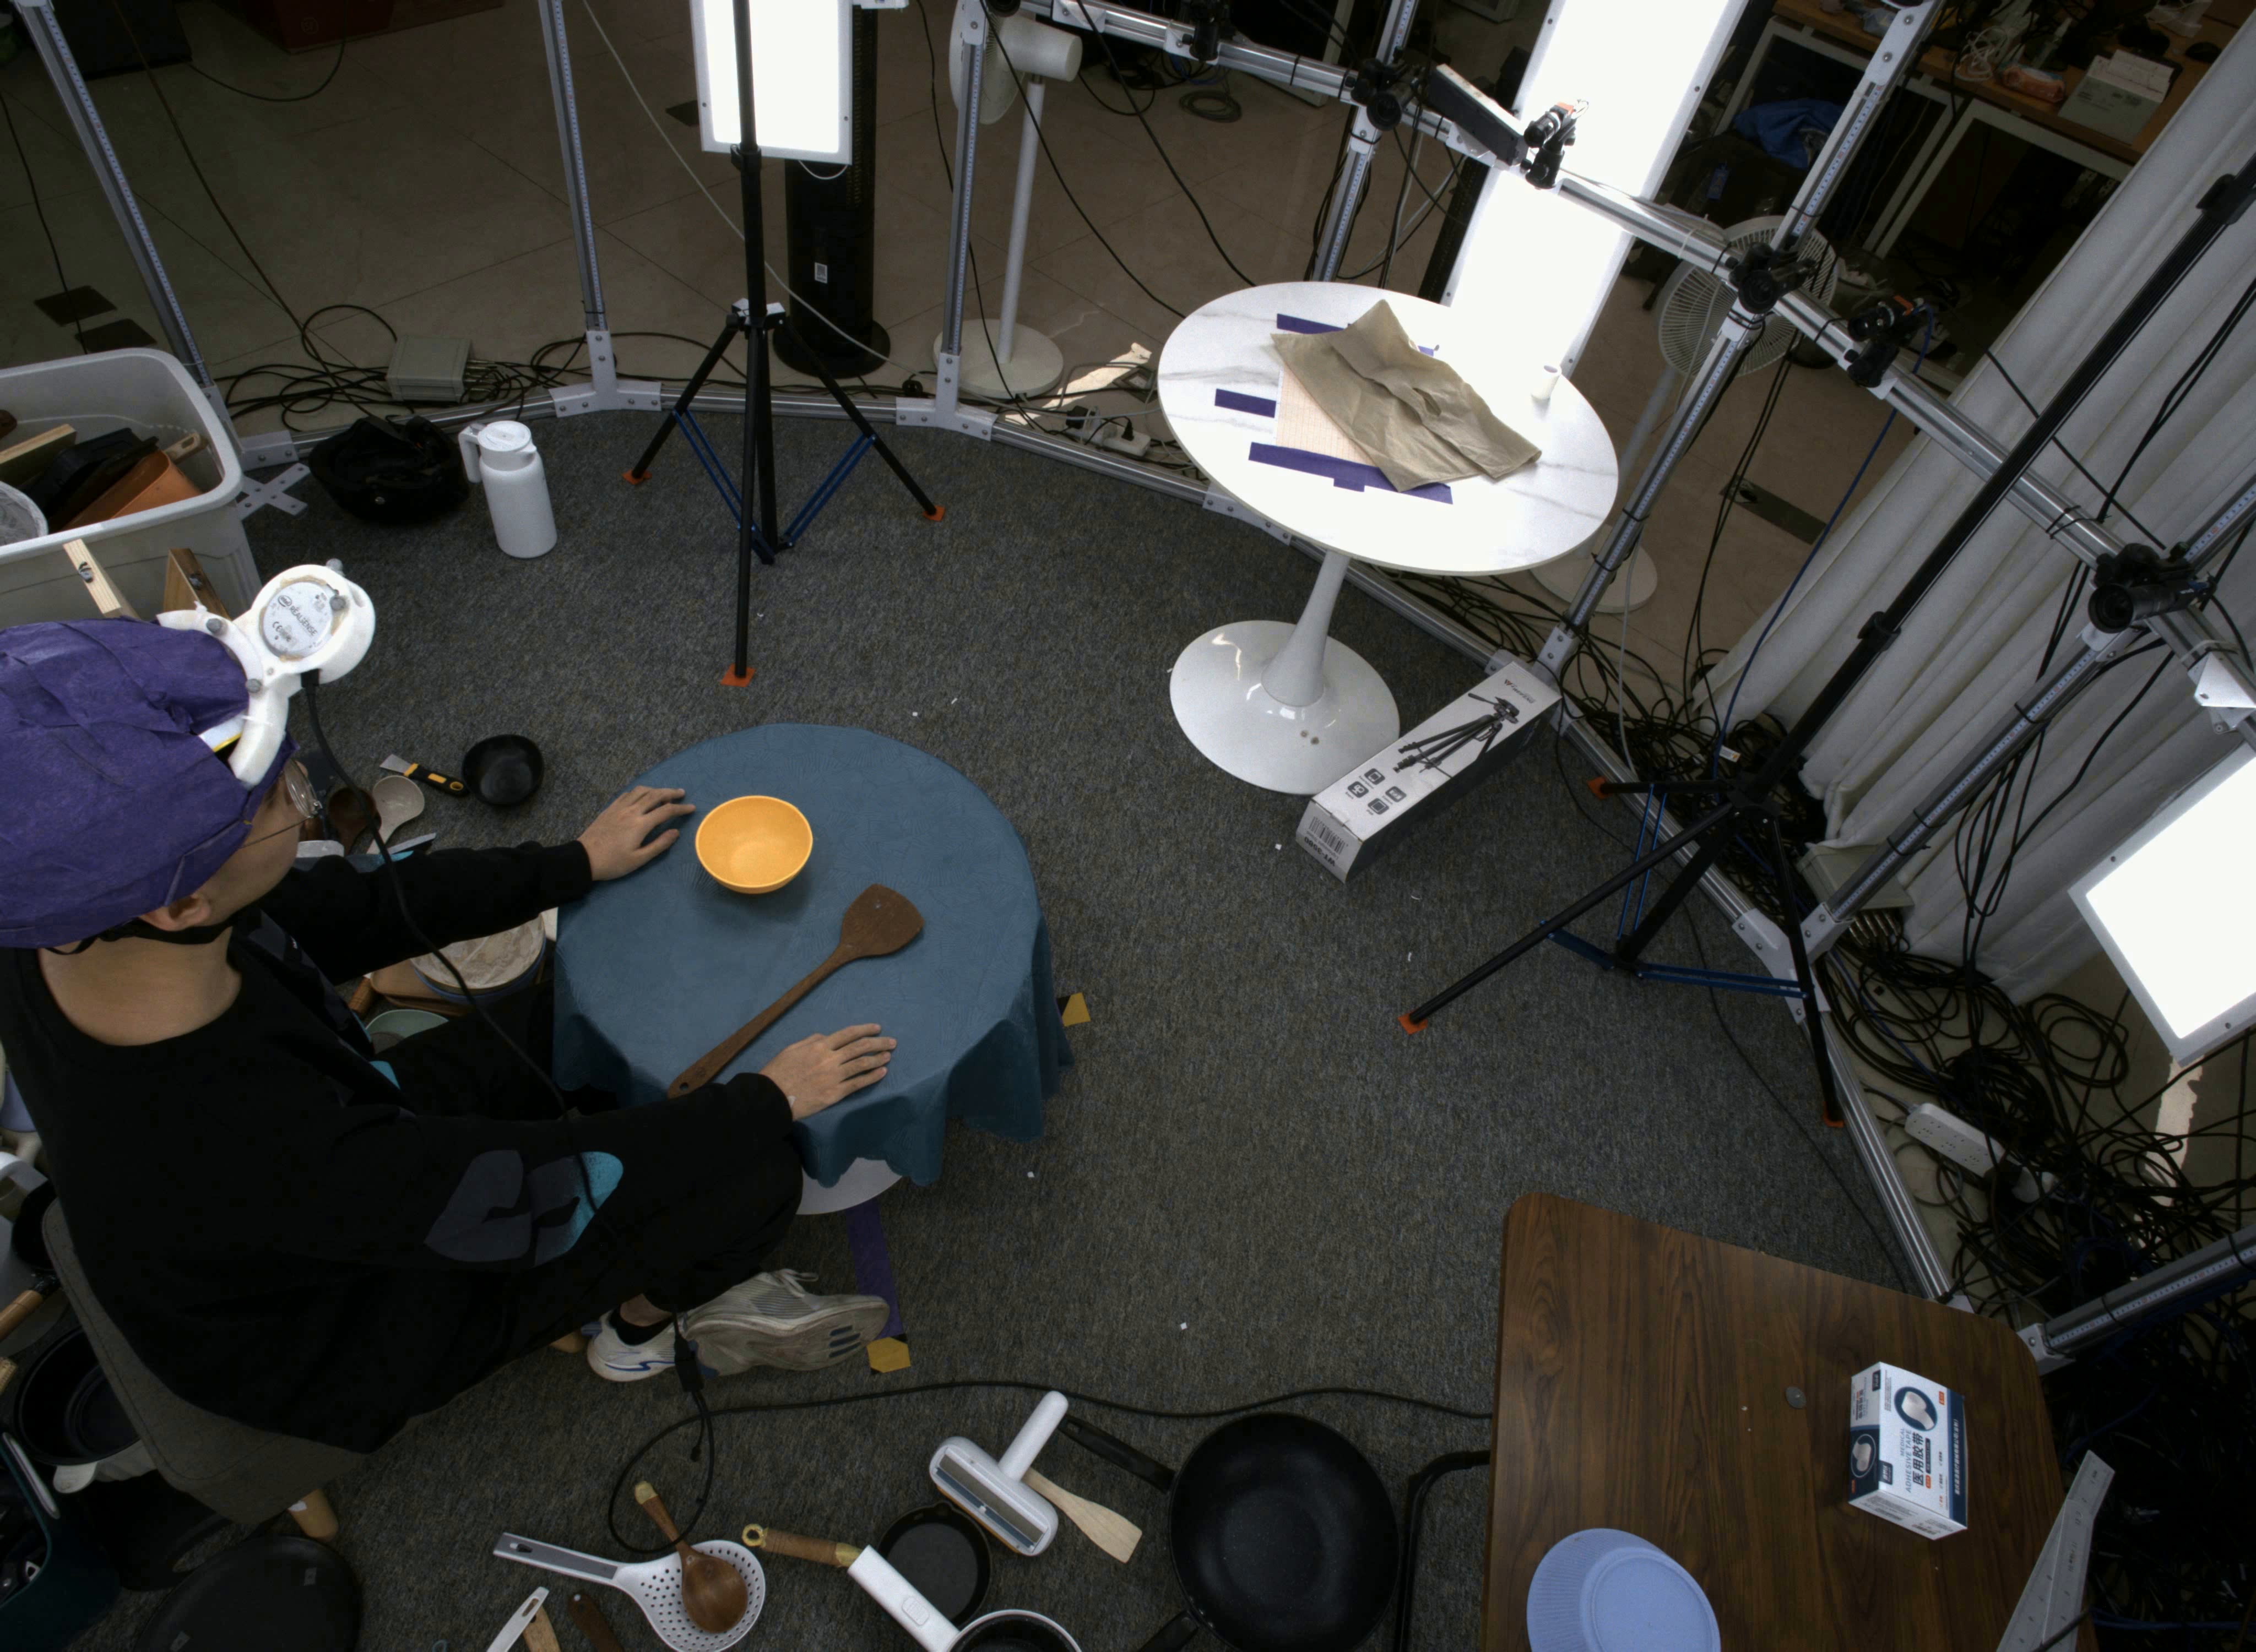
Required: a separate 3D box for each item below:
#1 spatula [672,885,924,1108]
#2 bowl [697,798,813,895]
[{"bbox_3d":[-0.403,0.204,1.574,0.094,0.016,0.386,37,54,14],"label":"spatula"},{"bbox_3d":[-0.474,0.036,1.654,0.144,0.061,0.143,6,52,-6],"label":"bowl"}]
